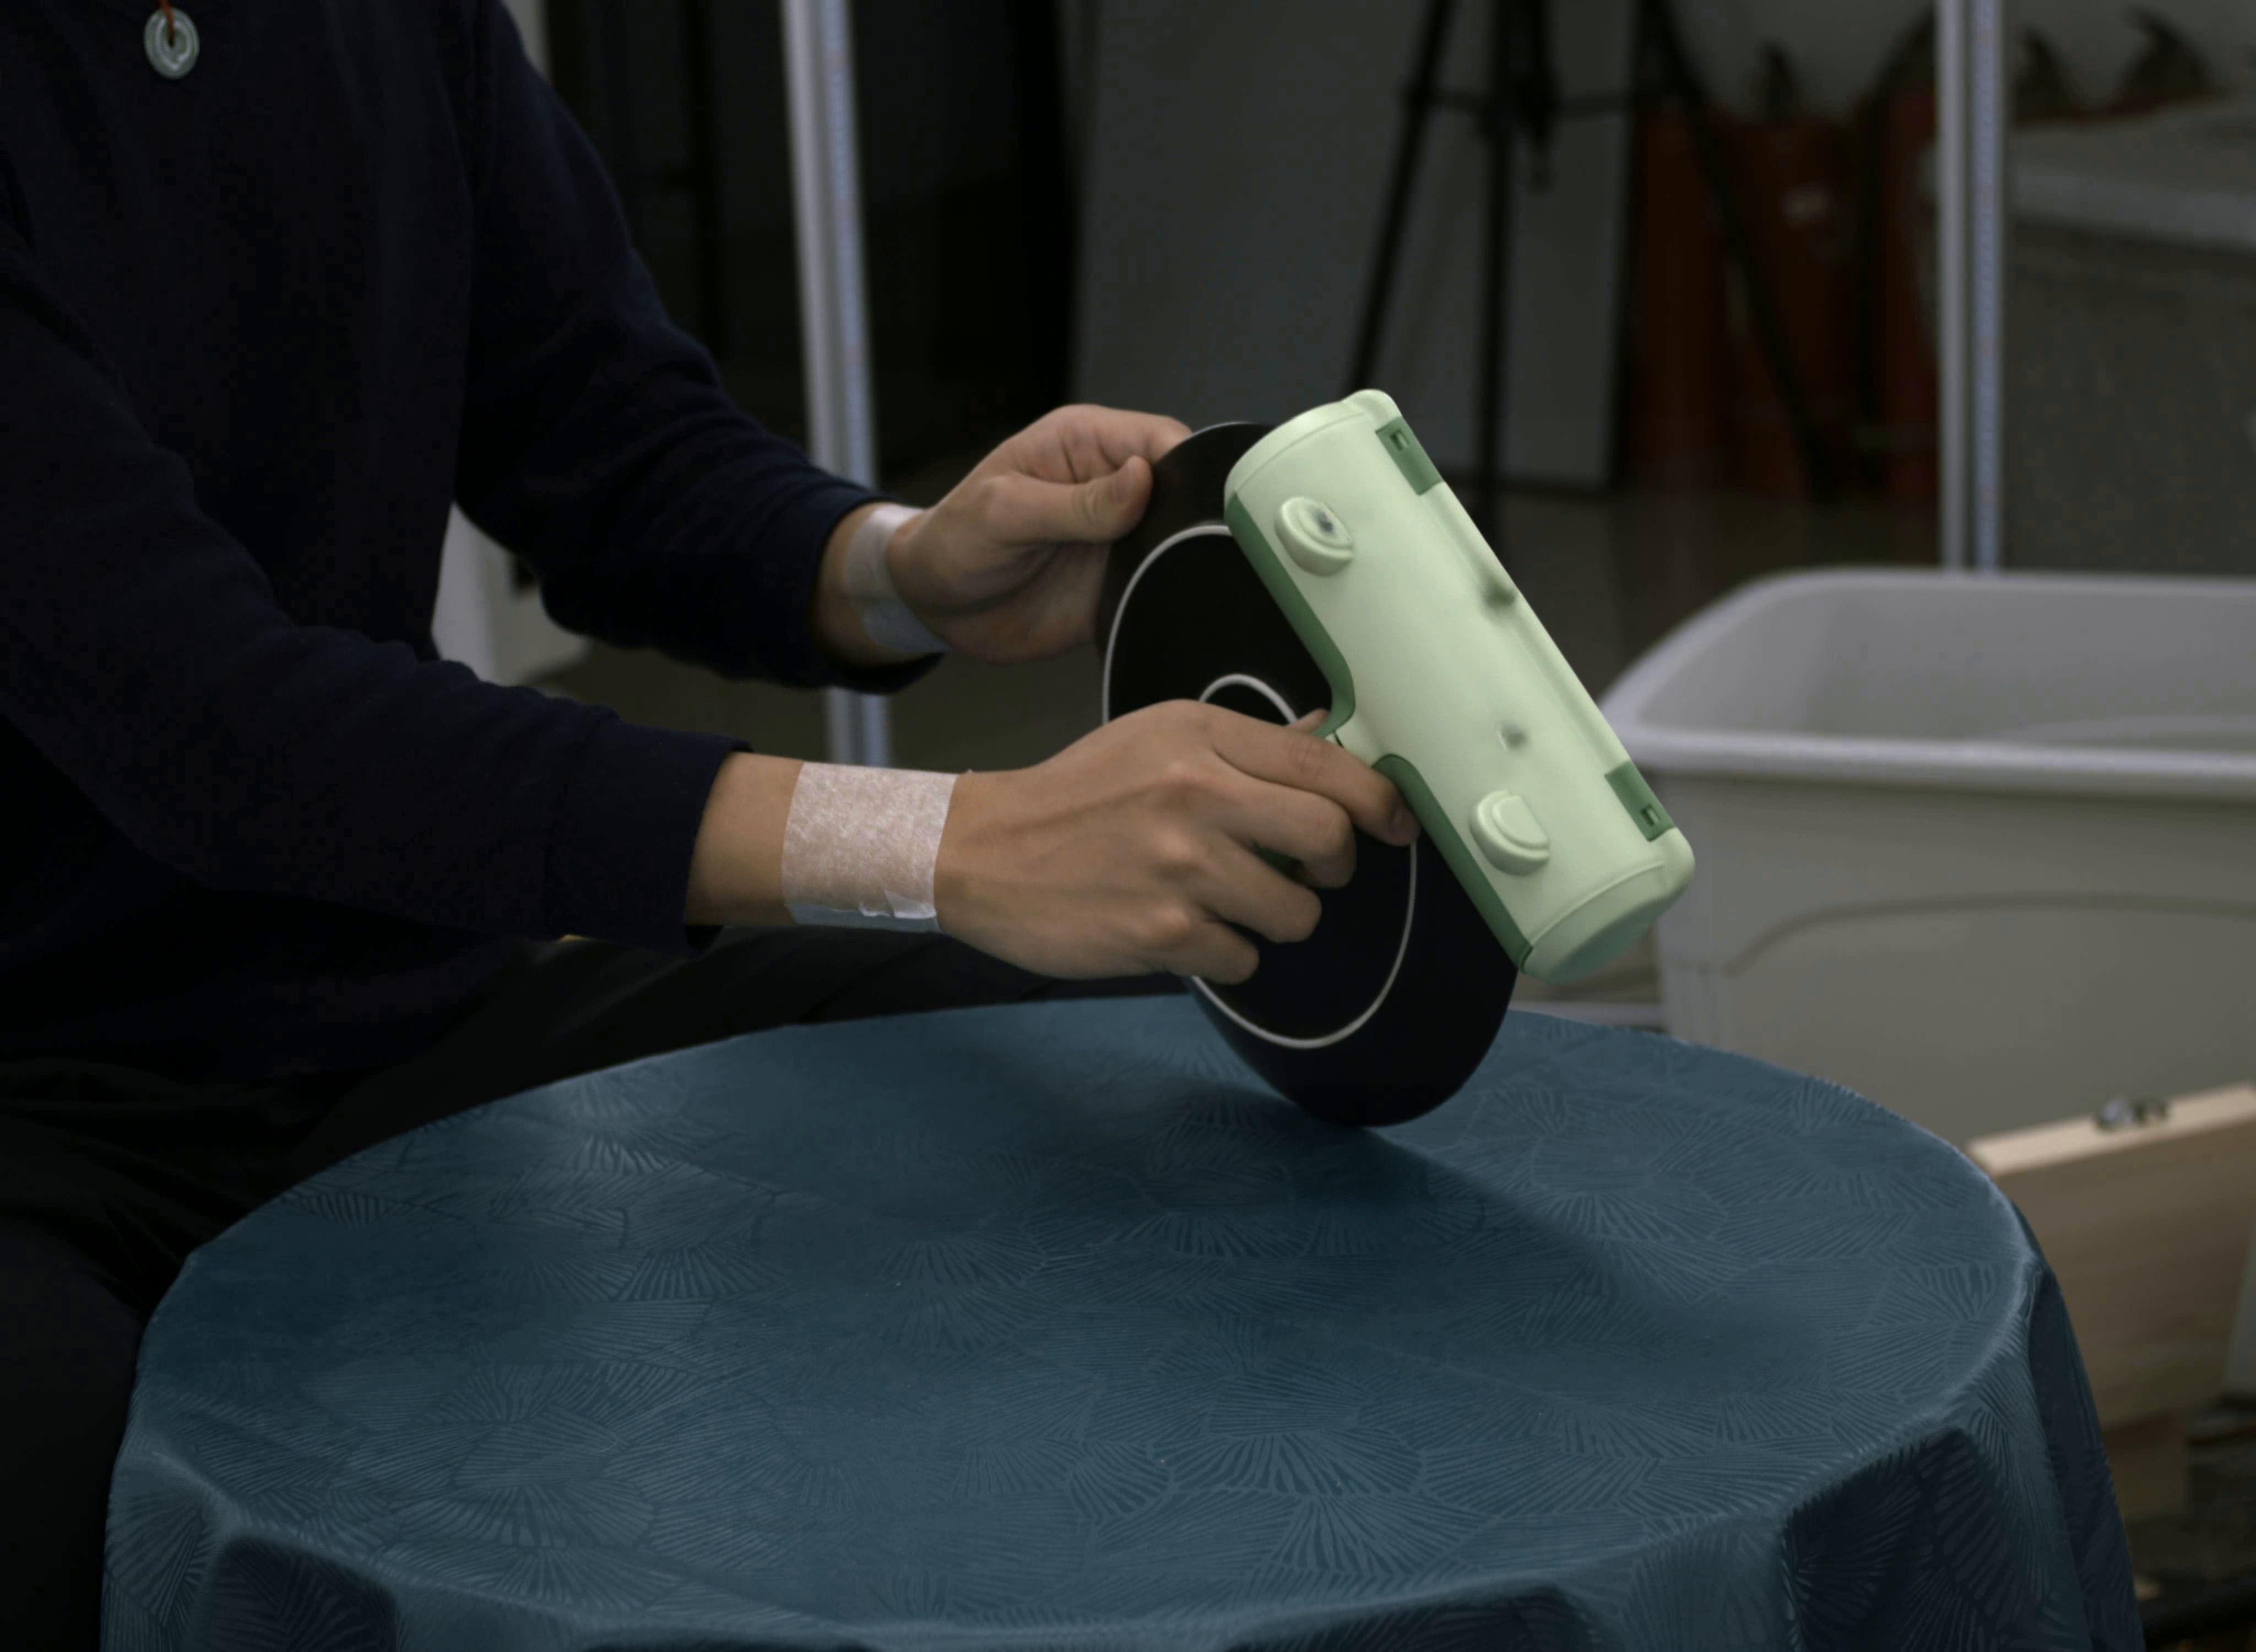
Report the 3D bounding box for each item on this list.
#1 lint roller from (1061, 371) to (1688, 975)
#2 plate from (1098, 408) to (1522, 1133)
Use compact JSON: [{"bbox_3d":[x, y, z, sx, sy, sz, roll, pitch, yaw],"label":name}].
[{"bbox_3d":[0.049,-0.017,1.675,0.182,0.201,0.081,-34,-19,3],"label":"lint roller"},{"bbox_3d":[0.051,-0.015,1.797,0.023,0.247,0.247,-14,17,-31],"label":"plate"}]
